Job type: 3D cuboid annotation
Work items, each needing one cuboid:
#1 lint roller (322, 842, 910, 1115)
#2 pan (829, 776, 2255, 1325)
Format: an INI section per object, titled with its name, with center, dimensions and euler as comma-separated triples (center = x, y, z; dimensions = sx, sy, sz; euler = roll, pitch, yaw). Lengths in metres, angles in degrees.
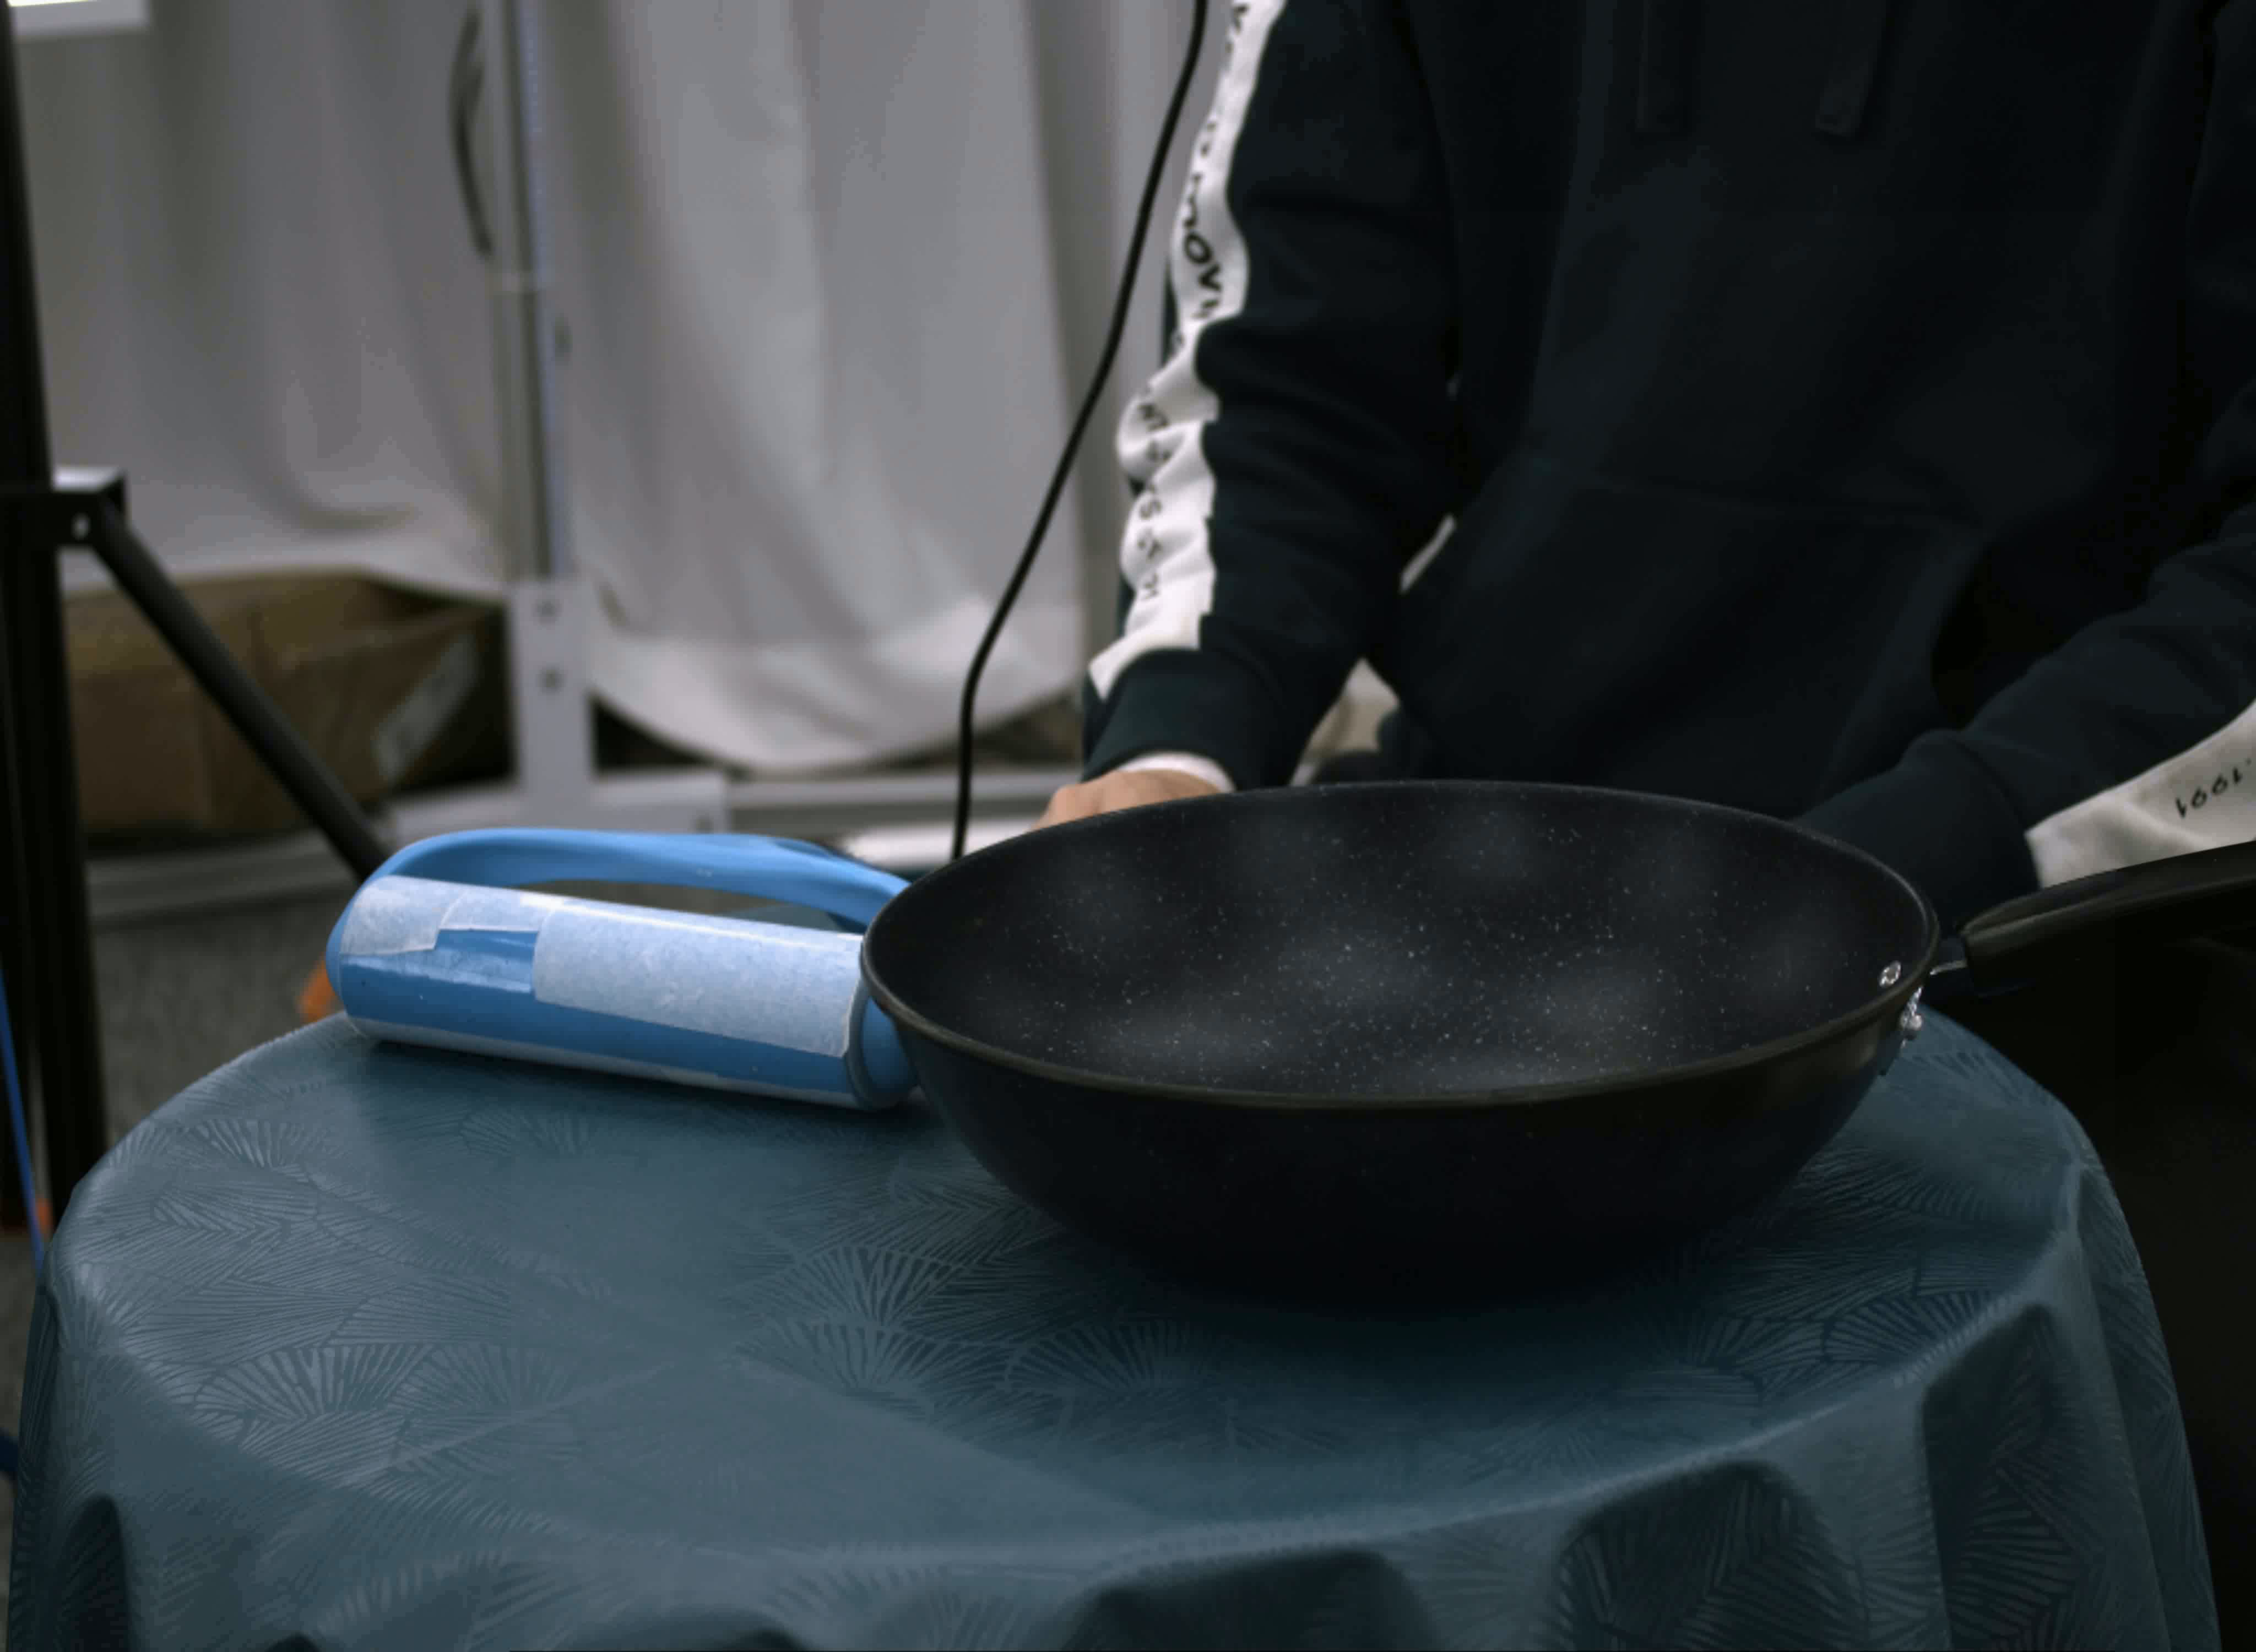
[lint roller]
center = -0.131, 0.037, 1.731
dimensions = 0.232, 0.068, 0.177
euler = 3, 18, 27
[pan]
center = 0.153, 0.059, 1.512
dimensions = 0.477, 0.111, 0.310
euler = -1, 18, 6
